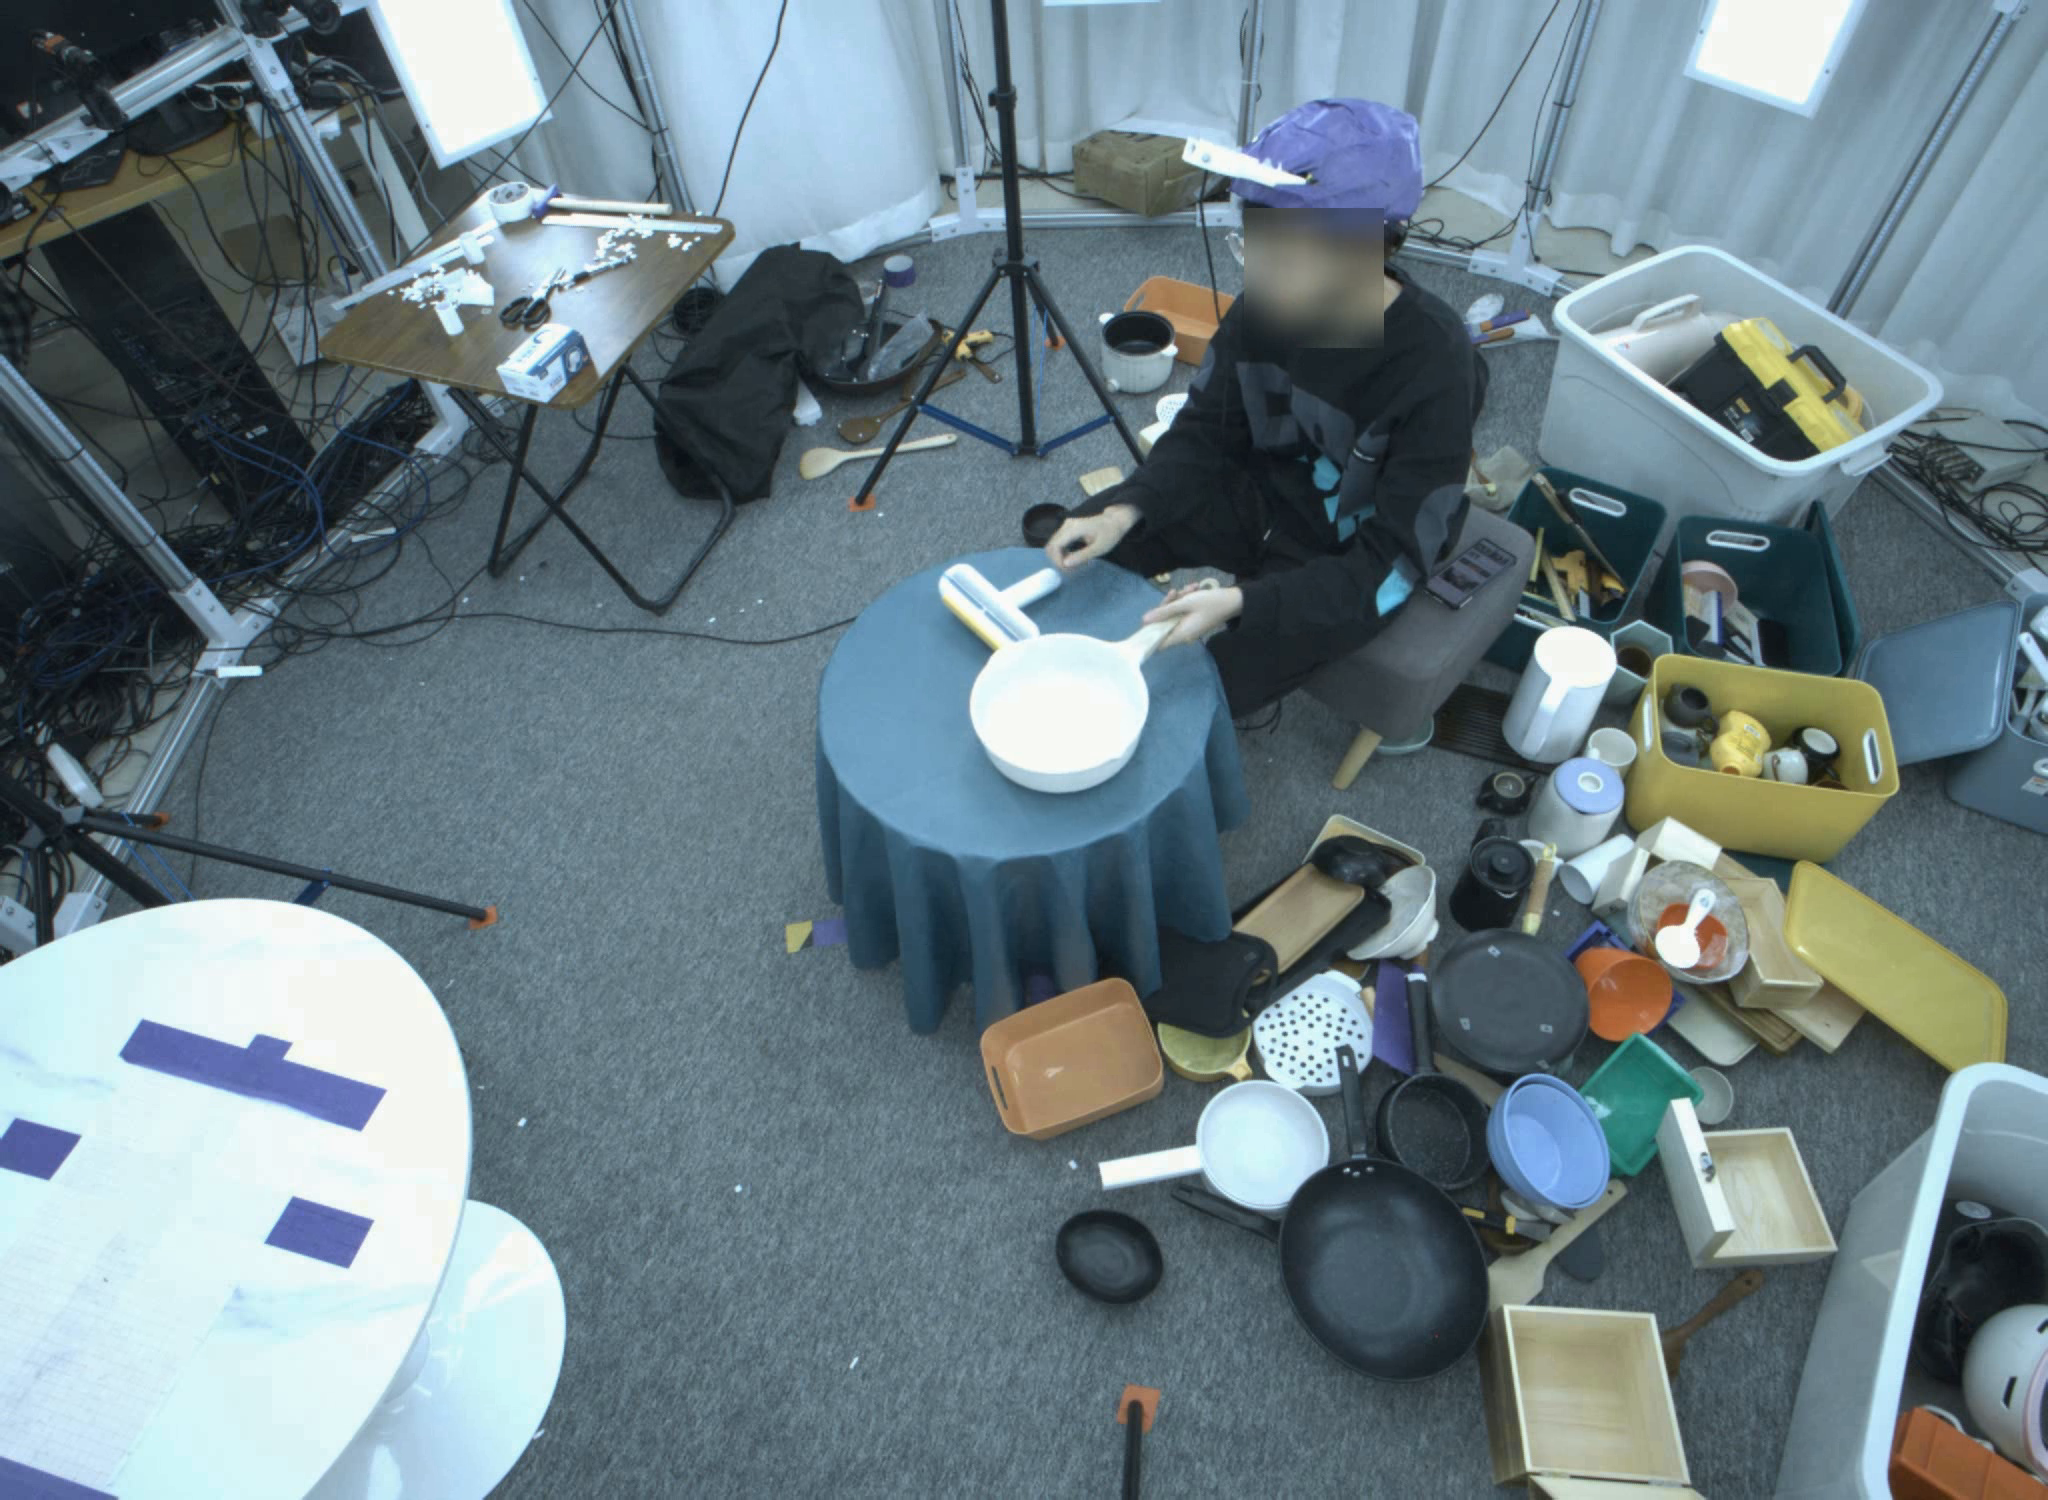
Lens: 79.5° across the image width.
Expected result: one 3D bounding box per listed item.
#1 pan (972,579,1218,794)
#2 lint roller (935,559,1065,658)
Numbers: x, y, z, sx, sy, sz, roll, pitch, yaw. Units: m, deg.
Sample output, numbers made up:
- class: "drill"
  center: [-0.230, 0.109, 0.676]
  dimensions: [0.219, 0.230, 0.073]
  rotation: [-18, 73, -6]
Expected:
- class: "pan"
  center: [0.124, -0.100, 1.788]
  dimensions: [0.438, 0.103, 0.258]
  rotation: [-36, 58, -21]
- class: "lint roller"
  center: [-0.015, -0.242, 1.914]
  dimensions: [0.194, 0.075, 0.190]
  rotation: [-35, 66, -23]
